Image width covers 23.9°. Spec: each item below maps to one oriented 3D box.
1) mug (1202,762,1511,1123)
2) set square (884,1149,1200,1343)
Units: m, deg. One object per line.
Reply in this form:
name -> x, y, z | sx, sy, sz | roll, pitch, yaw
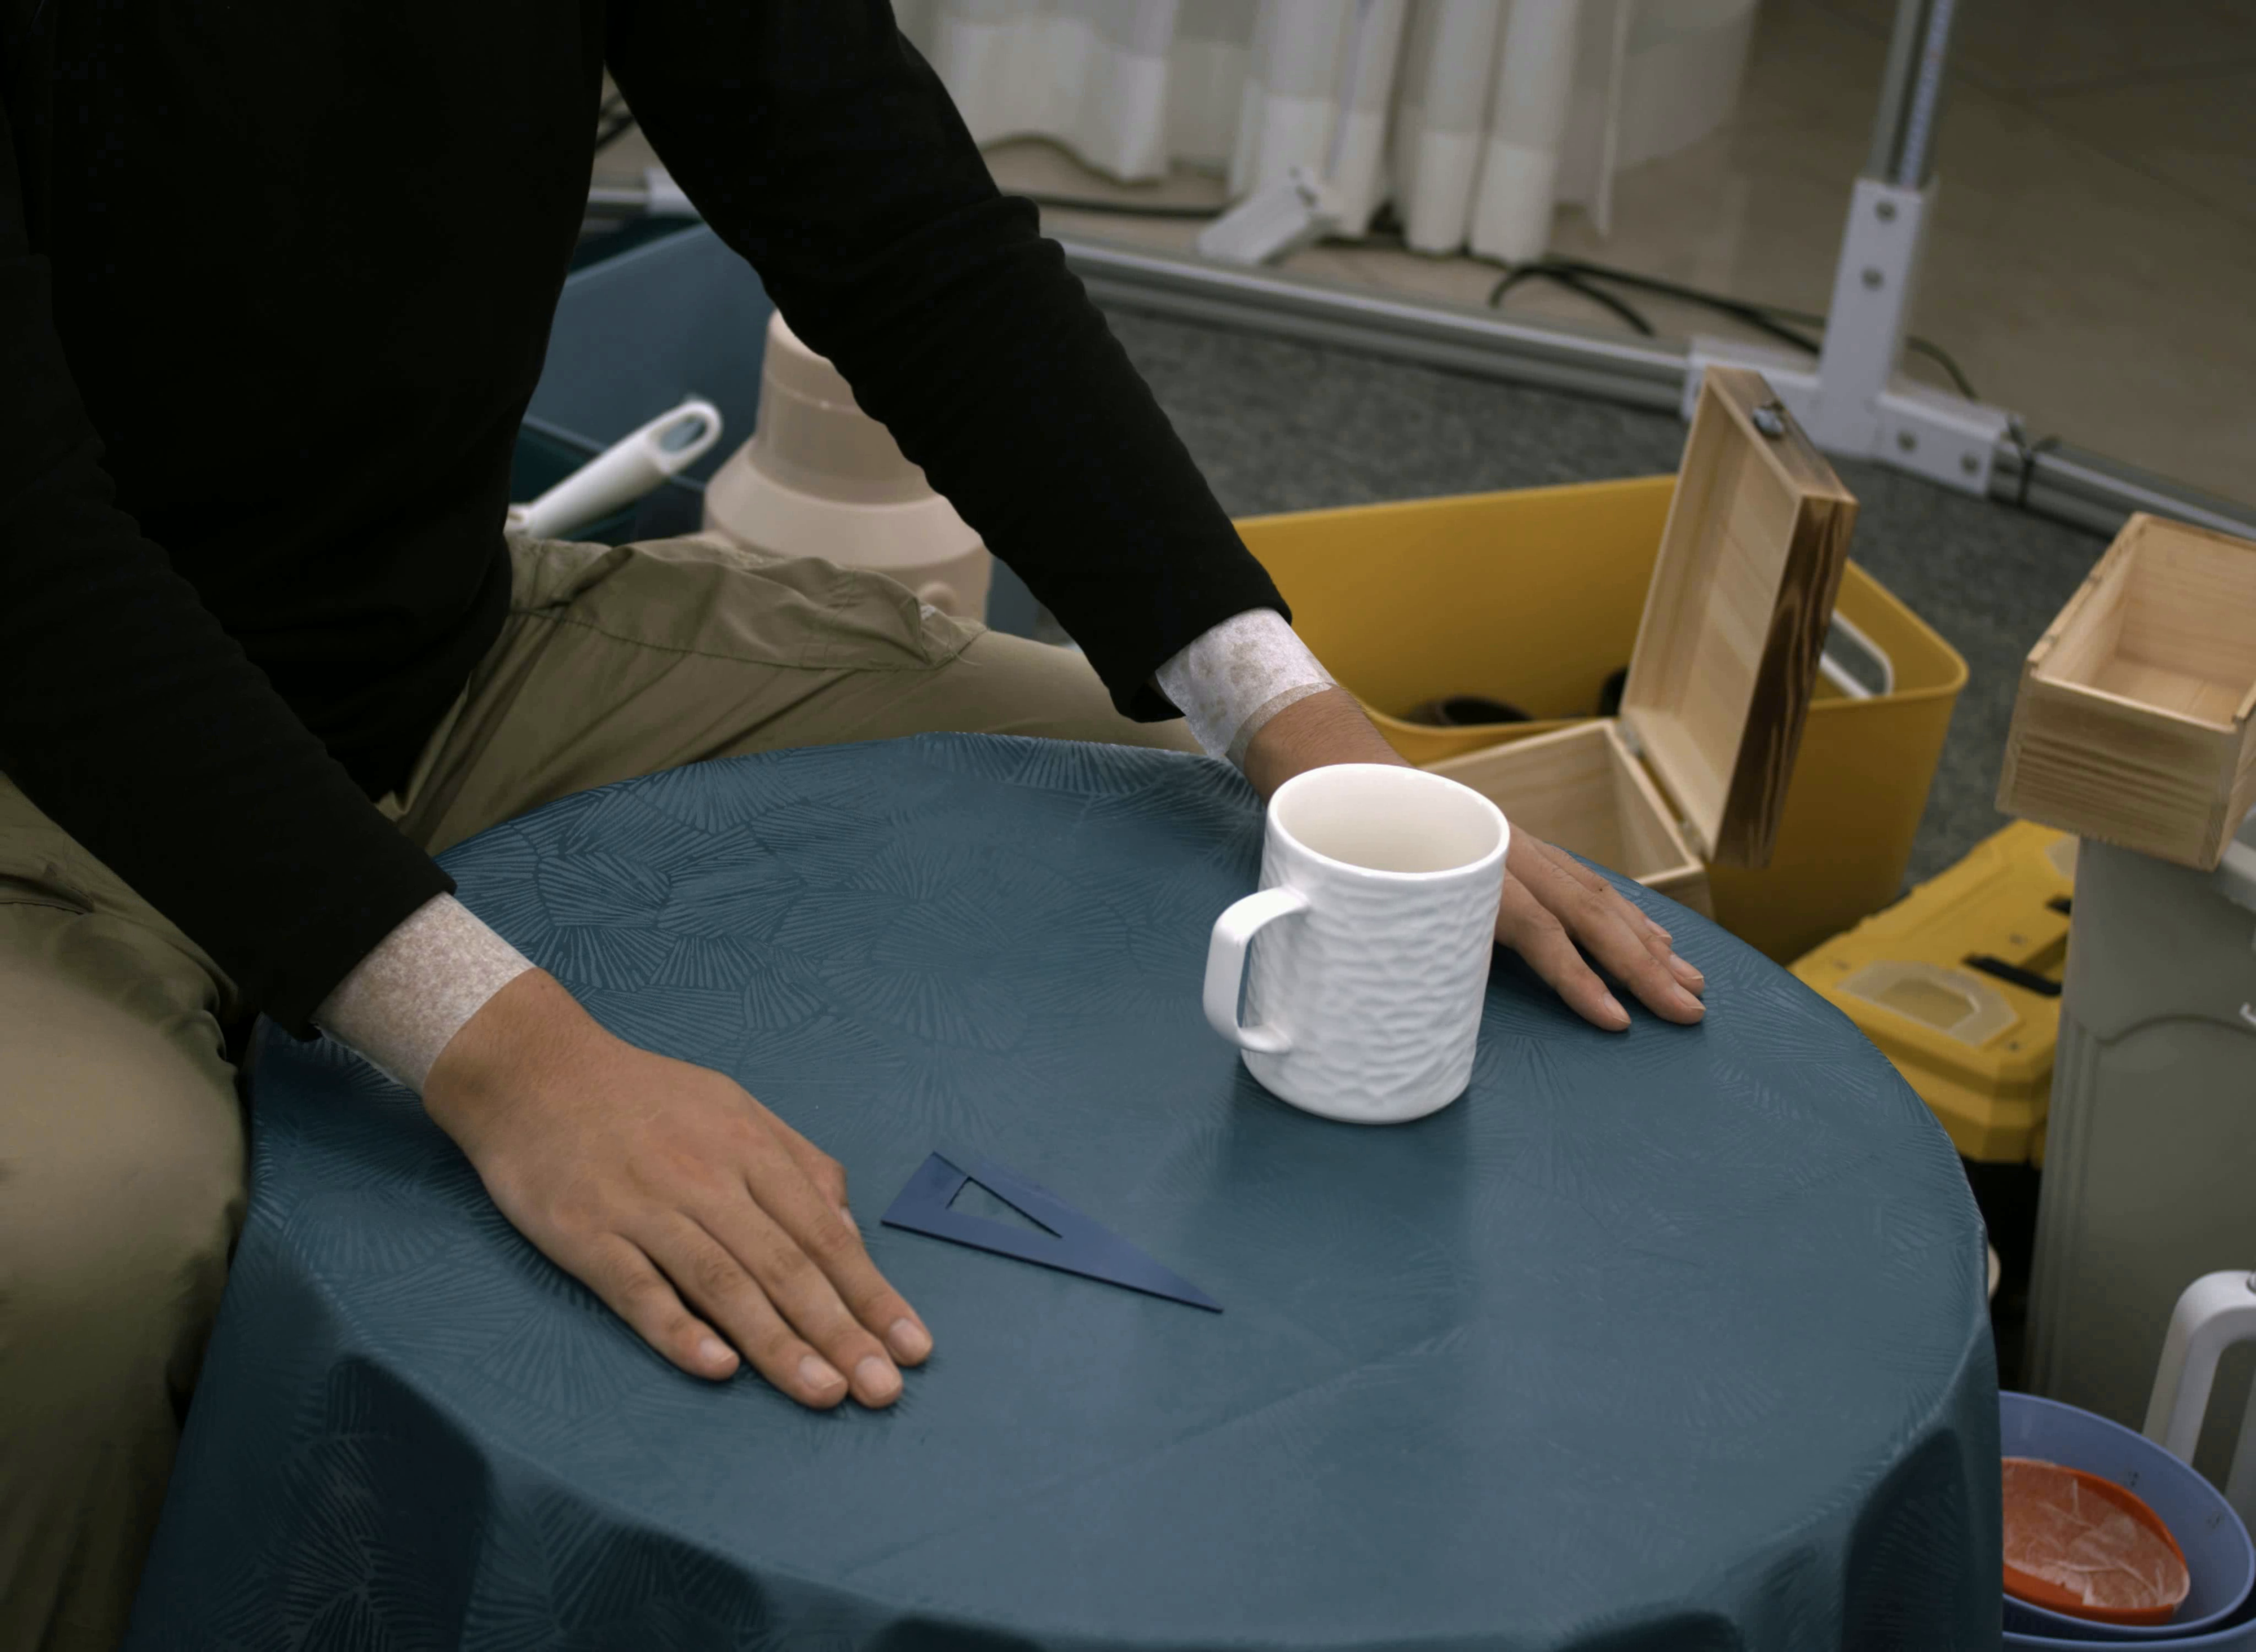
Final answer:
mug -> 0.074, 0.045, 1.860 | 0.117, 0.101, 0.085 | -16, 35, -39
set square -> -0.035, 0.142, 1.753 | 0.061, 0.006, 0.133 | -13, 33, -36
